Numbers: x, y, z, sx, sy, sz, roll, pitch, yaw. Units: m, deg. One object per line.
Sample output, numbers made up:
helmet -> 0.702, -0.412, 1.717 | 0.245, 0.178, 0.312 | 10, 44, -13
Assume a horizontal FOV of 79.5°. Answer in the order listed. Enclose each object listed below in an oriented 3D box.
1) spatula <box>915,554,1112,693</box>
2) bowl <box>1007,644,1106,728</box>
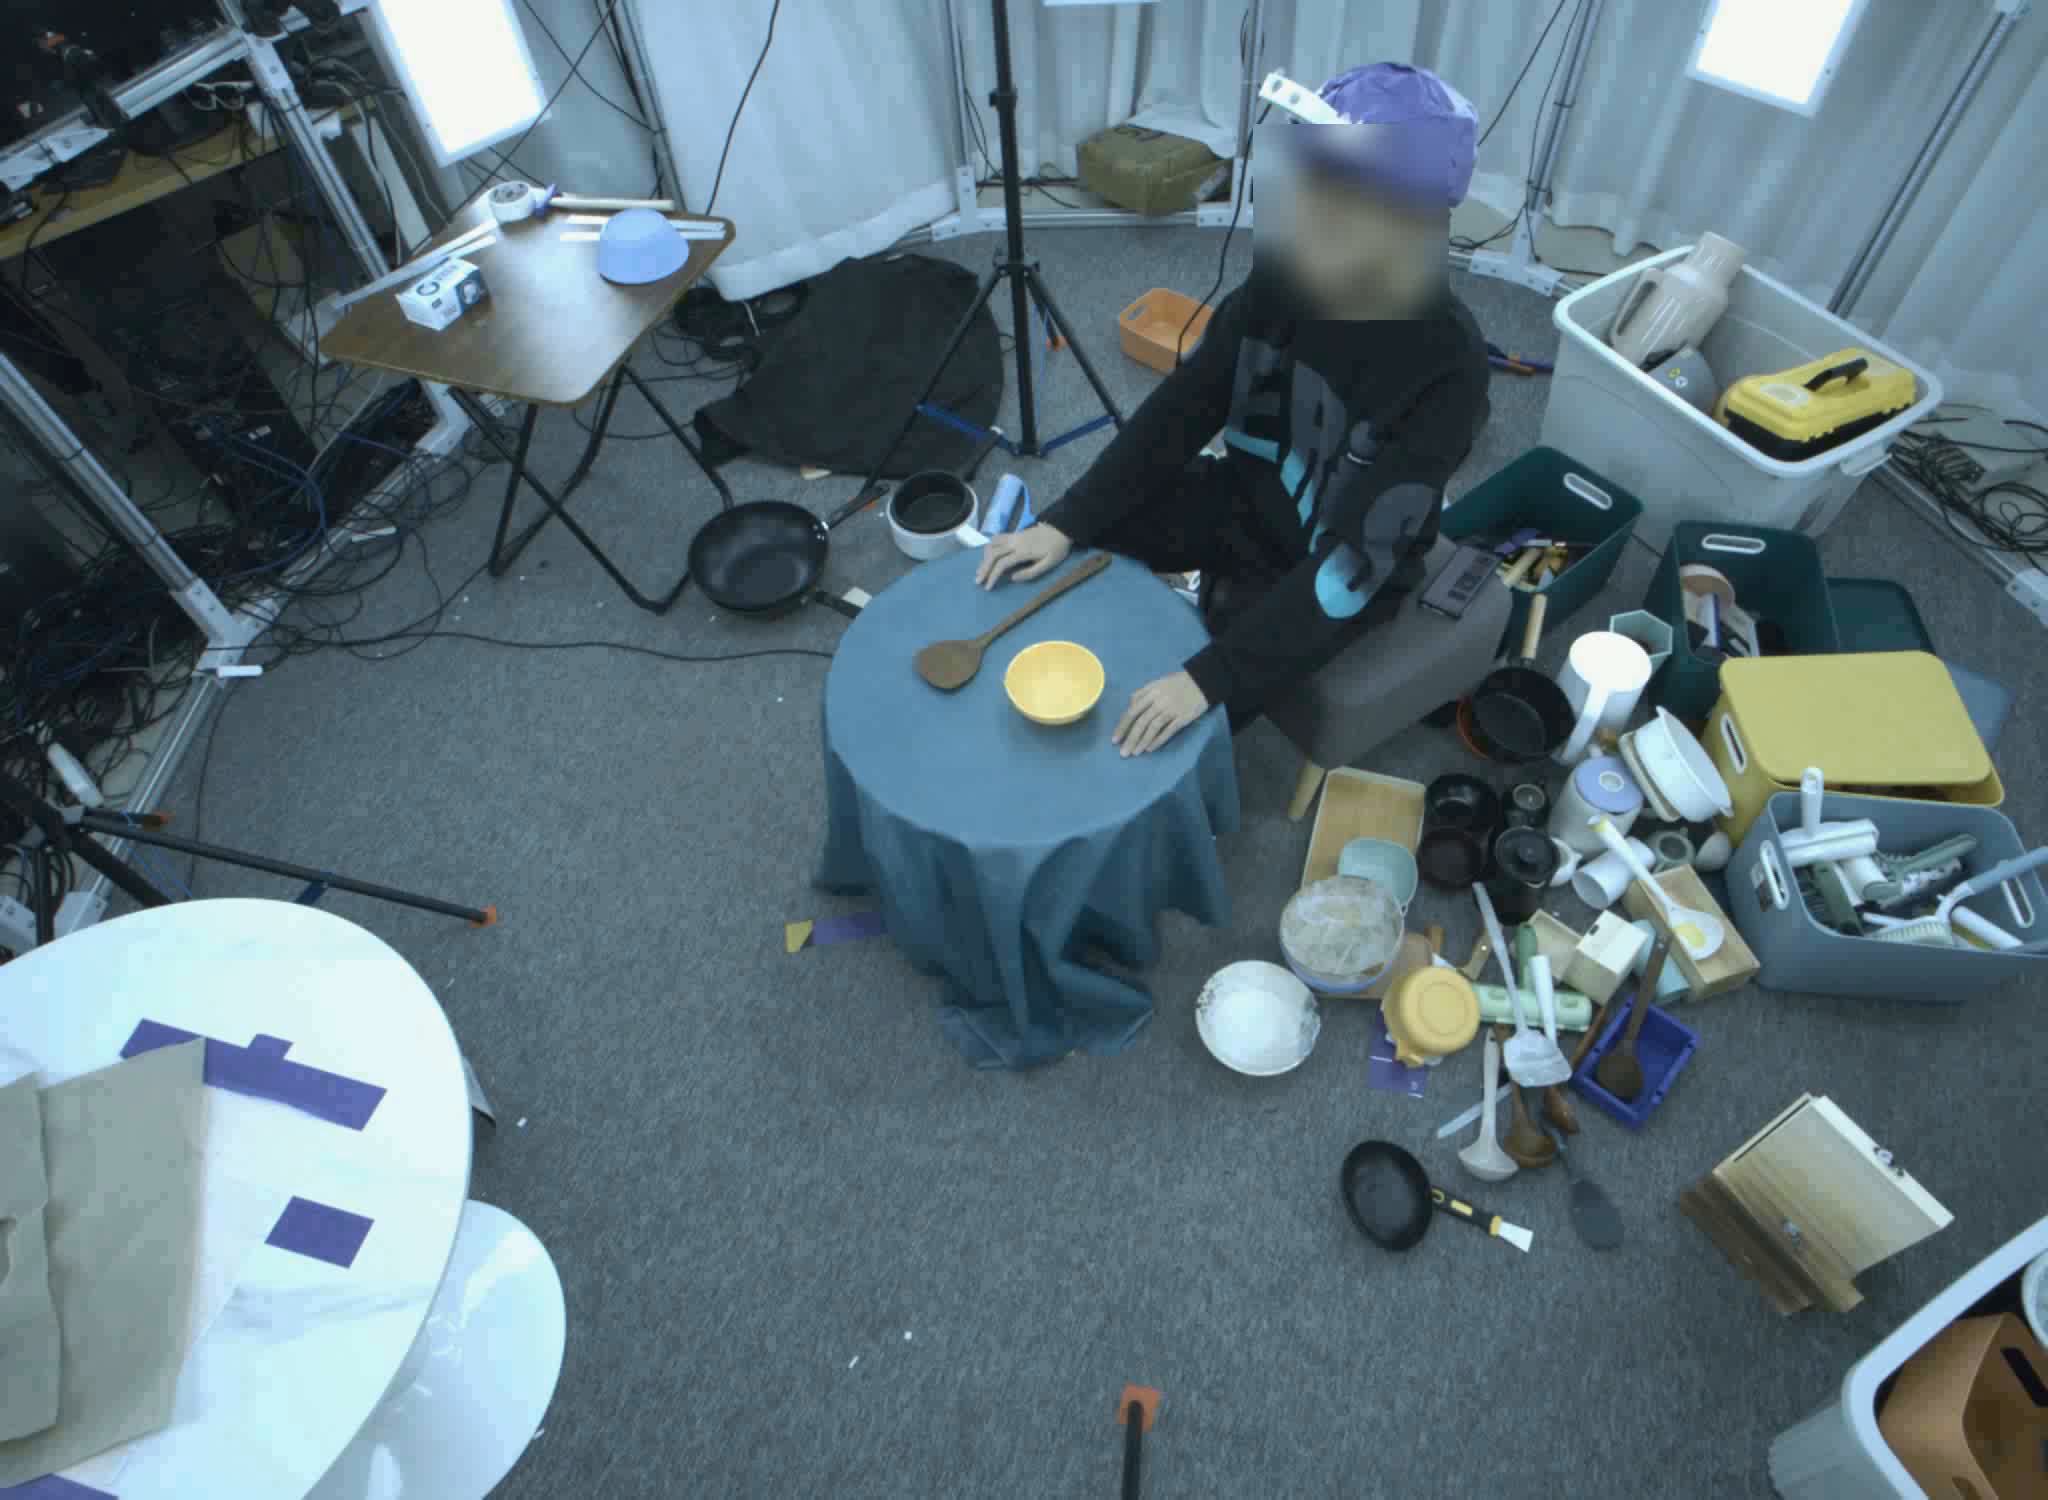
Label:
spatula -> -0.004, -0.211, 1.938 | 0.389, 0.016, 0.094 | -37, 62, -22
bowl -> 0.048, -0.083, 1.821 | 0.145, 0.060, 0.144 | 1, 56, 0
